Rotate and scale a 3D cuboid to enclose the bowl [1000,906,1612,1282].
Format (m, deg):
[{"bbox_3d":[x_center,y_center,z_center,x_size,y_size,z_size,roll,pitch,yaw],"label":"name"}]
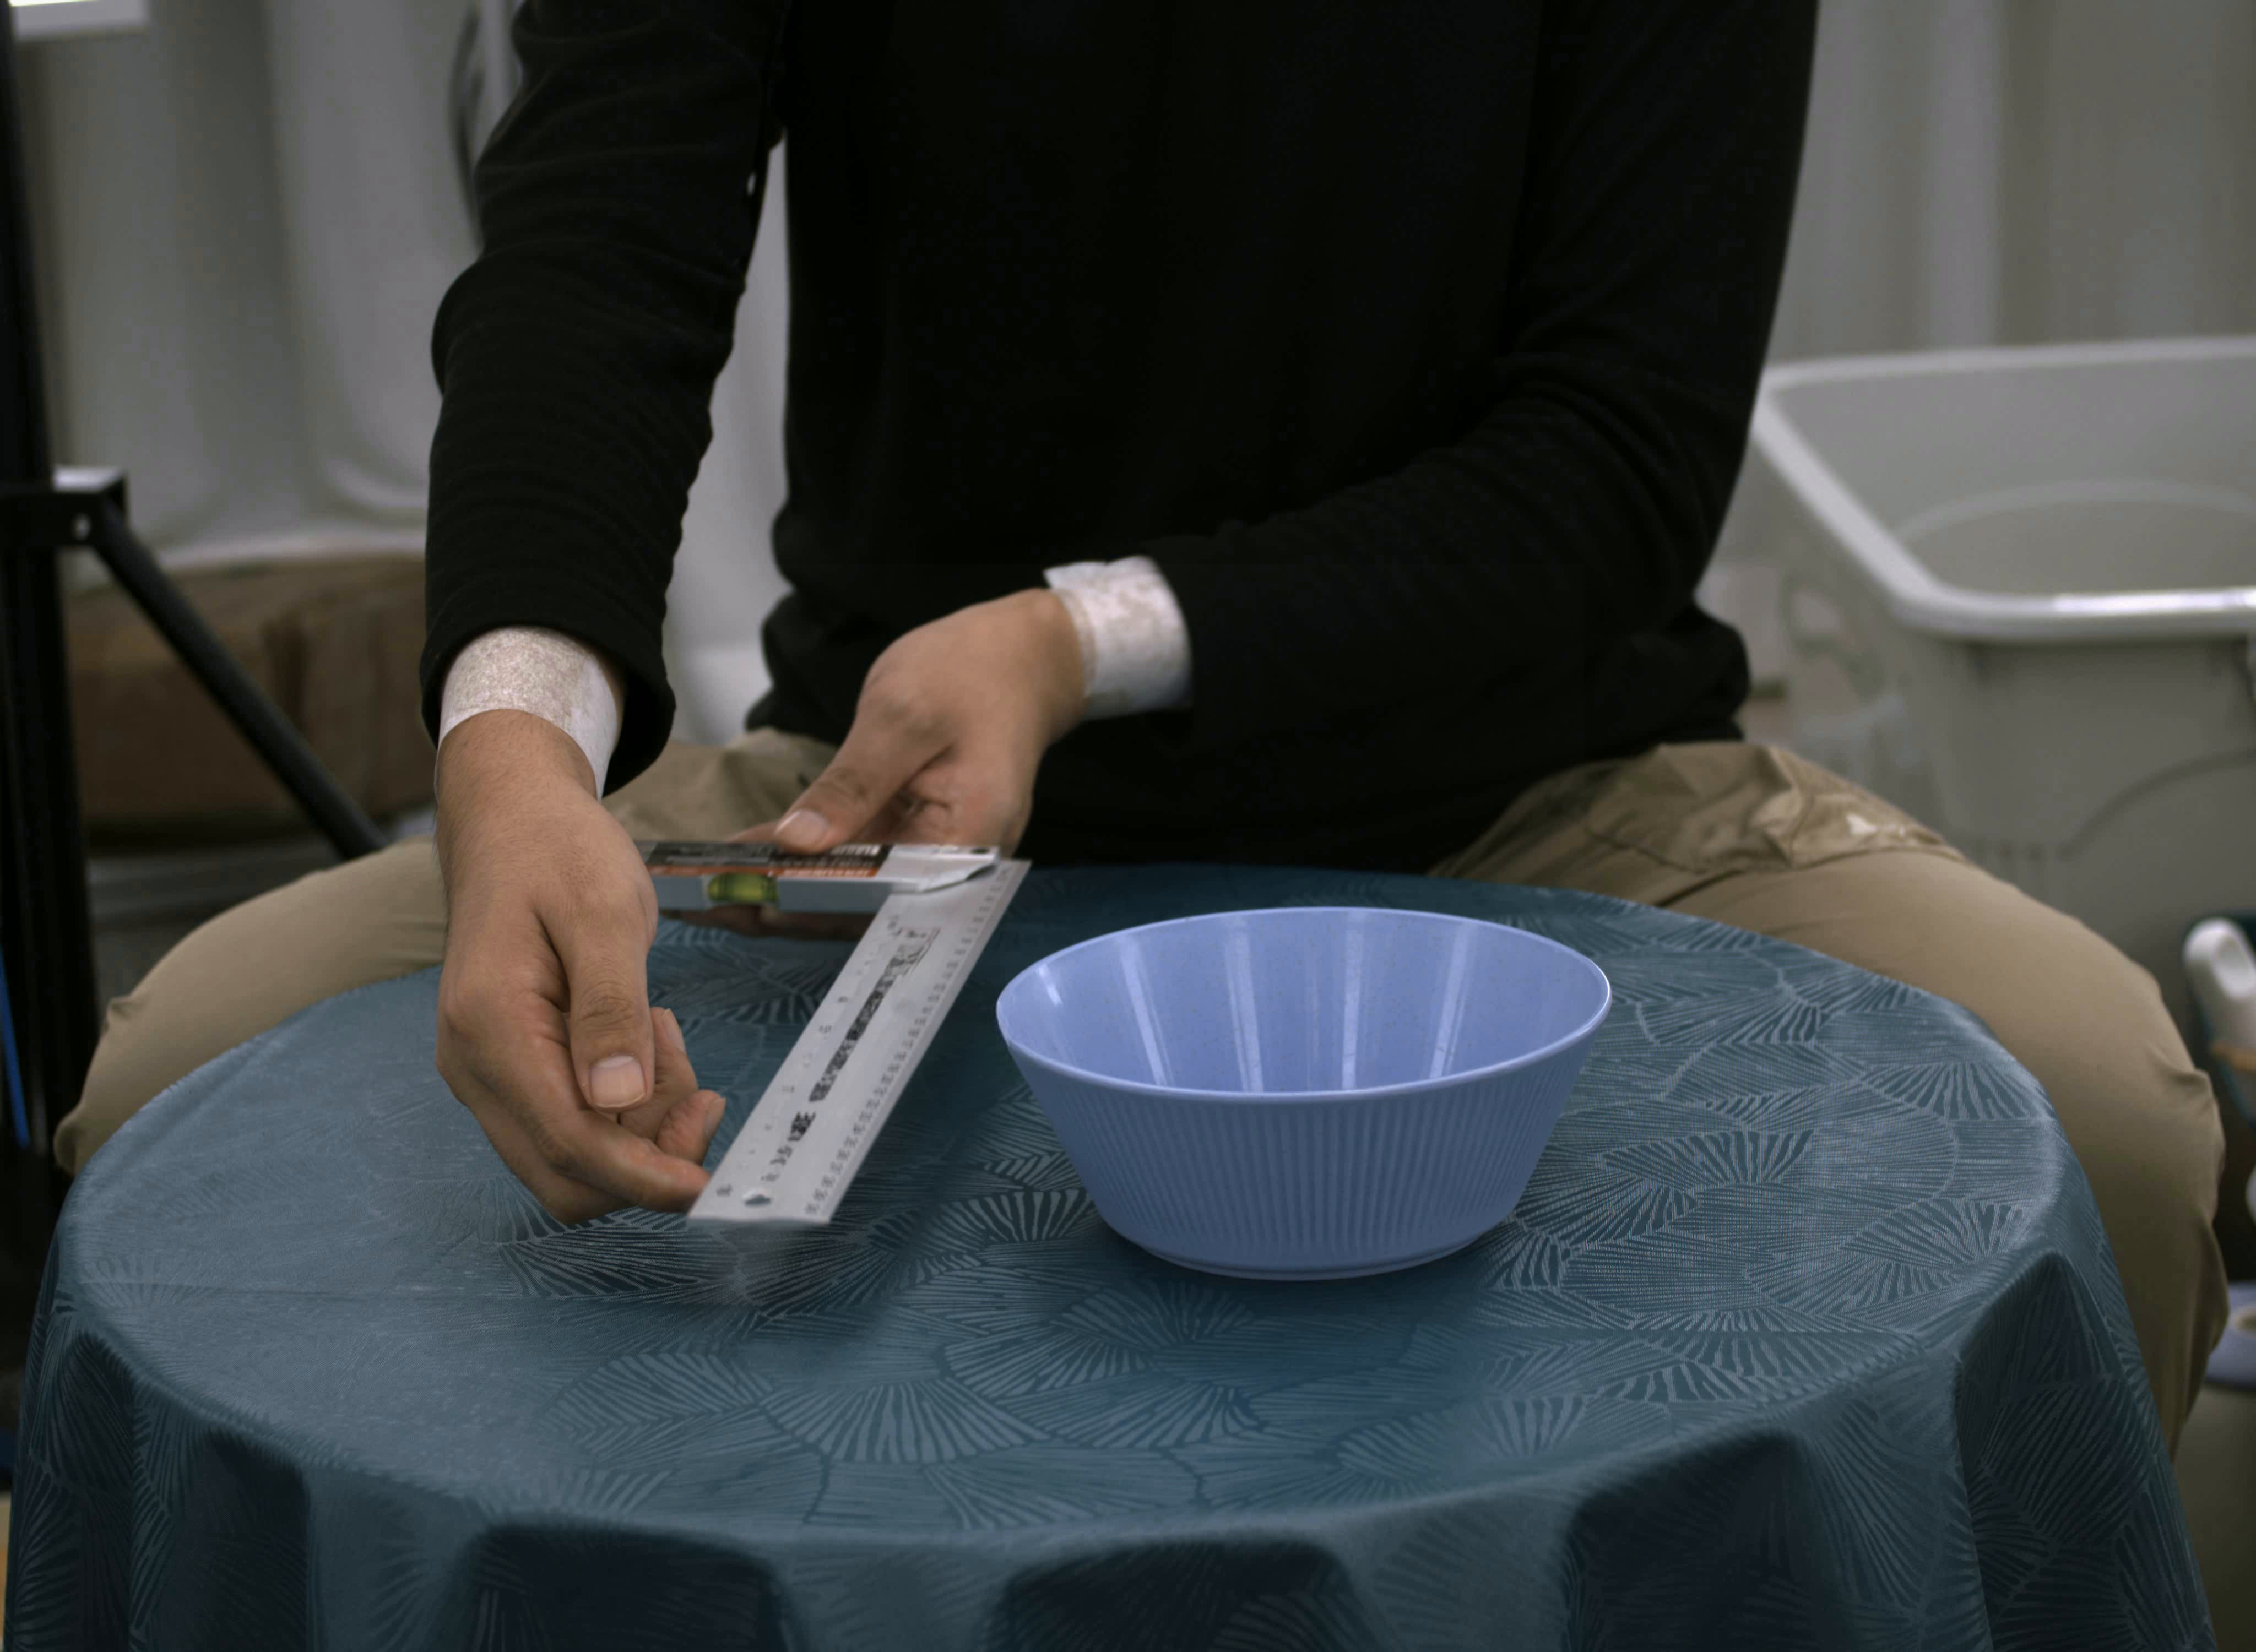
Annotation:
[{"bbox_3d":[0.052,0.080,1.522,0.175,0.070,0.177,-3,16,-1],"label":"bowl"}]

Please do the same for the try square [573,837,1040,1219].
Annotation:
[{"bbox_3d":[-0.127,0.060,1.608,0.153,0.016,0.312,-4,17,12],"label":"try square"}]
